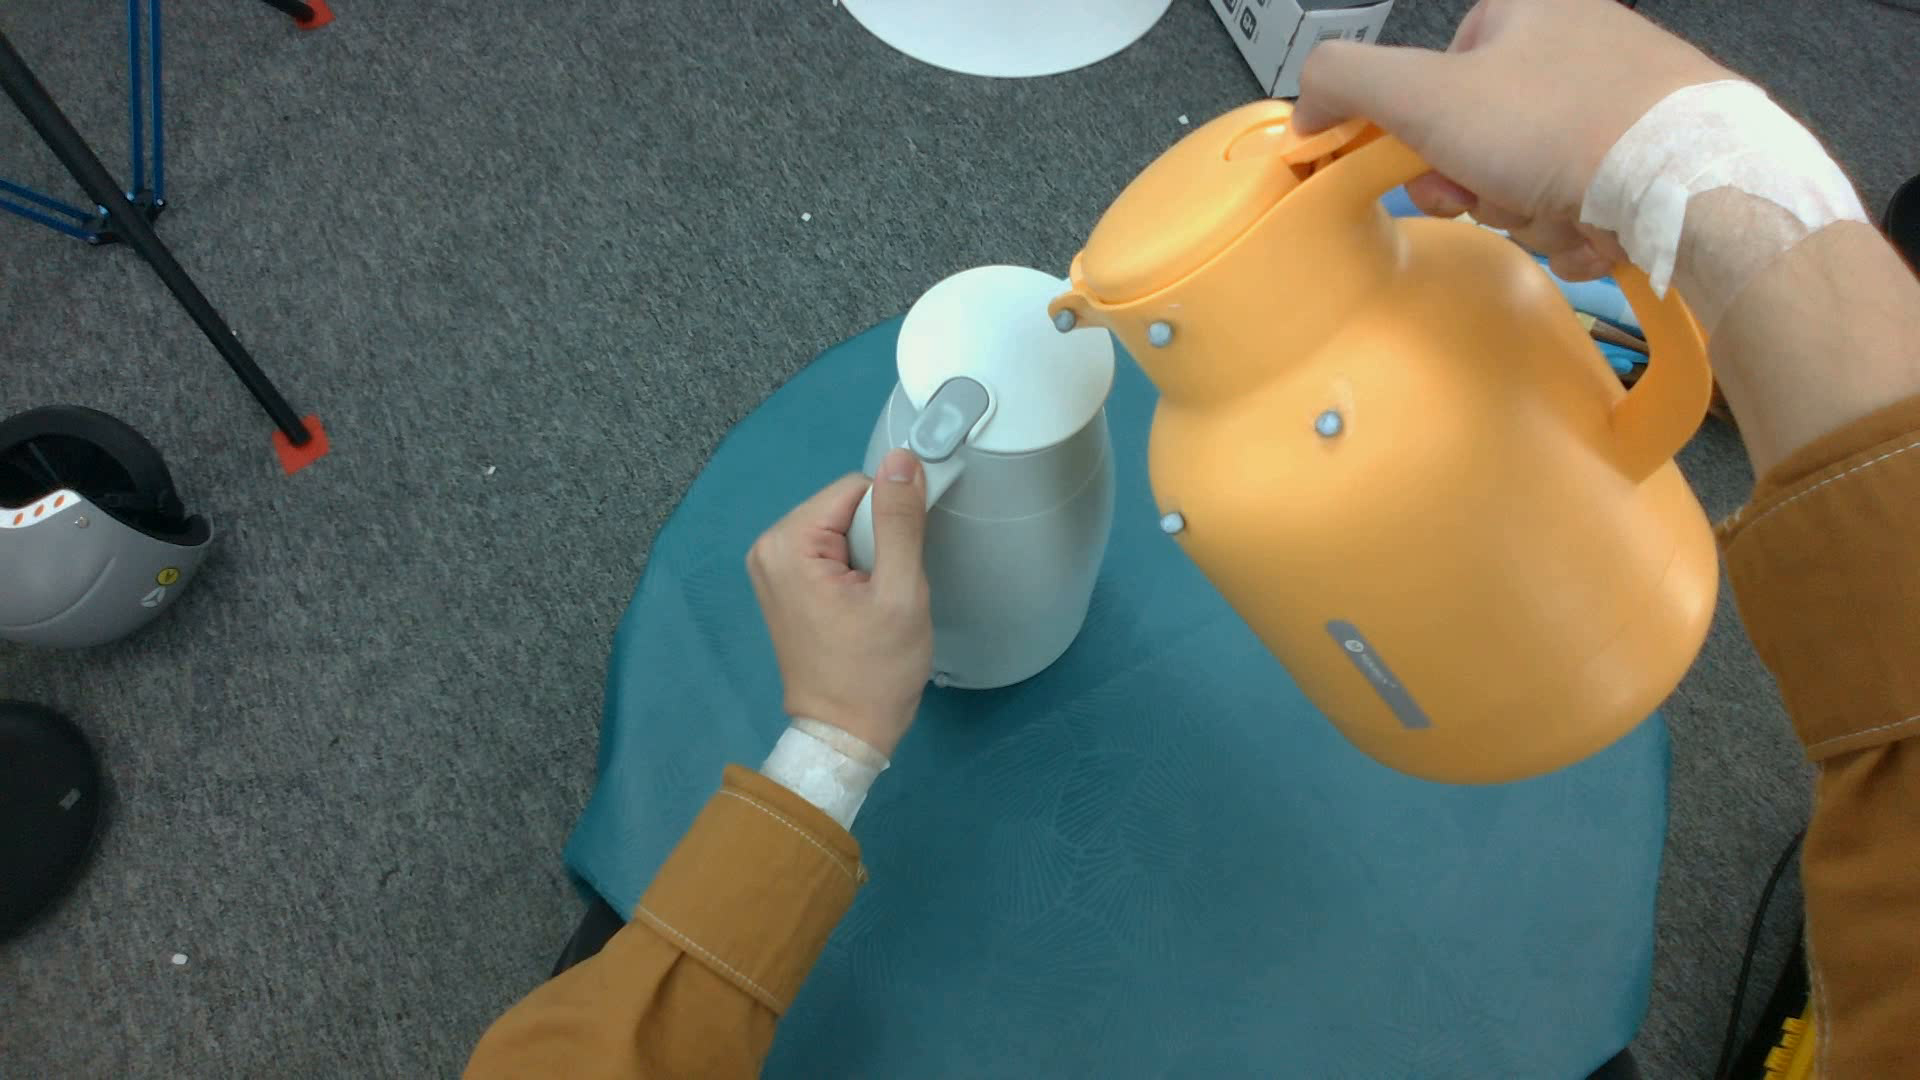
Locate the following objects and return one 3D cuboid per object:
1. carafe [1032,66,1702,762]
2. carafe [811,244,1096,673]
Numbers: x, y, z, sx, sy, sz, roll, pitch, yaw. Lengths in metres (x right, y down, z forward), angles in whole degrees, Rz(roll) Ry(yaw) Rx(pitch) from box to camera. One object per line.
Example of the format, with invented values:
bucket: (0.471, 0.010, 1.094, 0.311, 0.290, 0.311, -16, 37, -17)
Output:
carafe: (0.161, -0.048, 0.503, 0.260, 0.201, 0.164, 44, 54, -23)
carafe: (-0.007, -0.023, 0.668, 0.132, 0.247, 0.168, 37, 69, 13)
